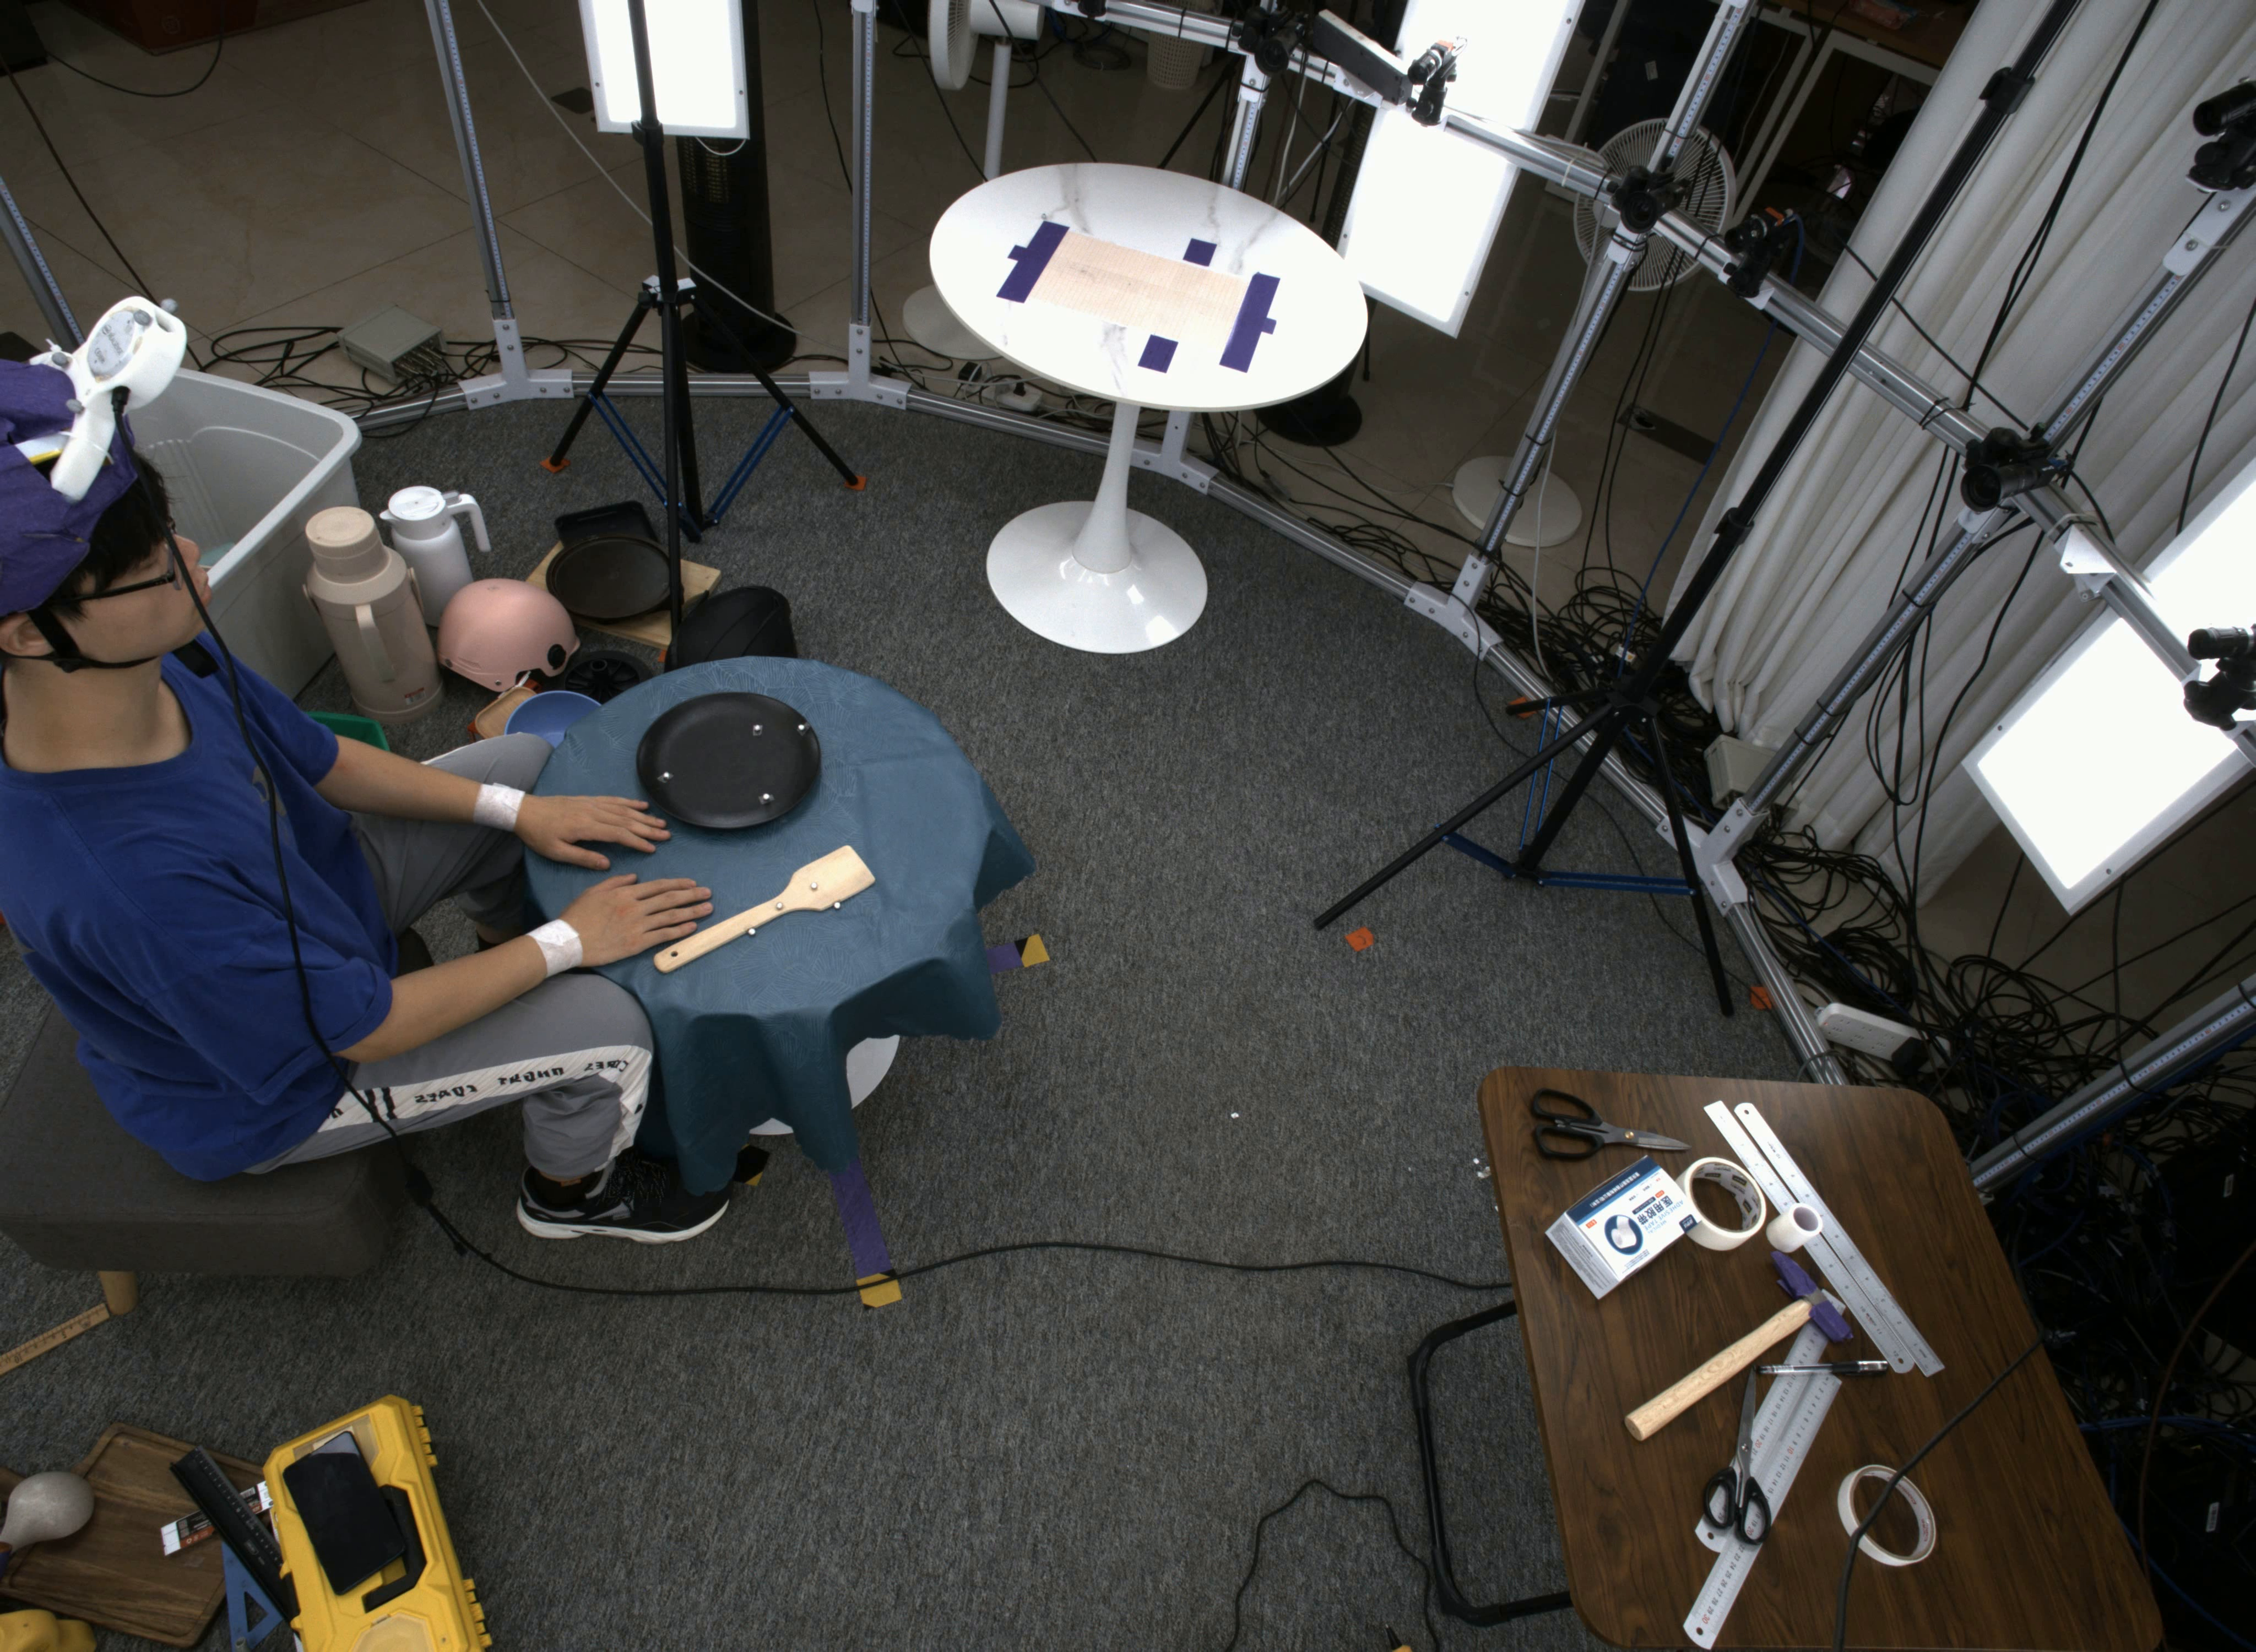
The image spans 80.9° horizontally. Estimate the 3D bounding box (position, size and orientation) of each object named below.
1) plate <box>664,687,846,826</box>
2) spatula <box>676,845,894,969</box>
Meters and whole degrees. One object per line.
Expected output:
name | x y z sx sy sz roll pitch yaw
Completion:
plate | -0.509 -0.093 1.766 0.244 0.024 0.240 8 53 -9
spatula | -0.437 0.106 1.646 0.294 0.011 0.070 -27 66 -30
